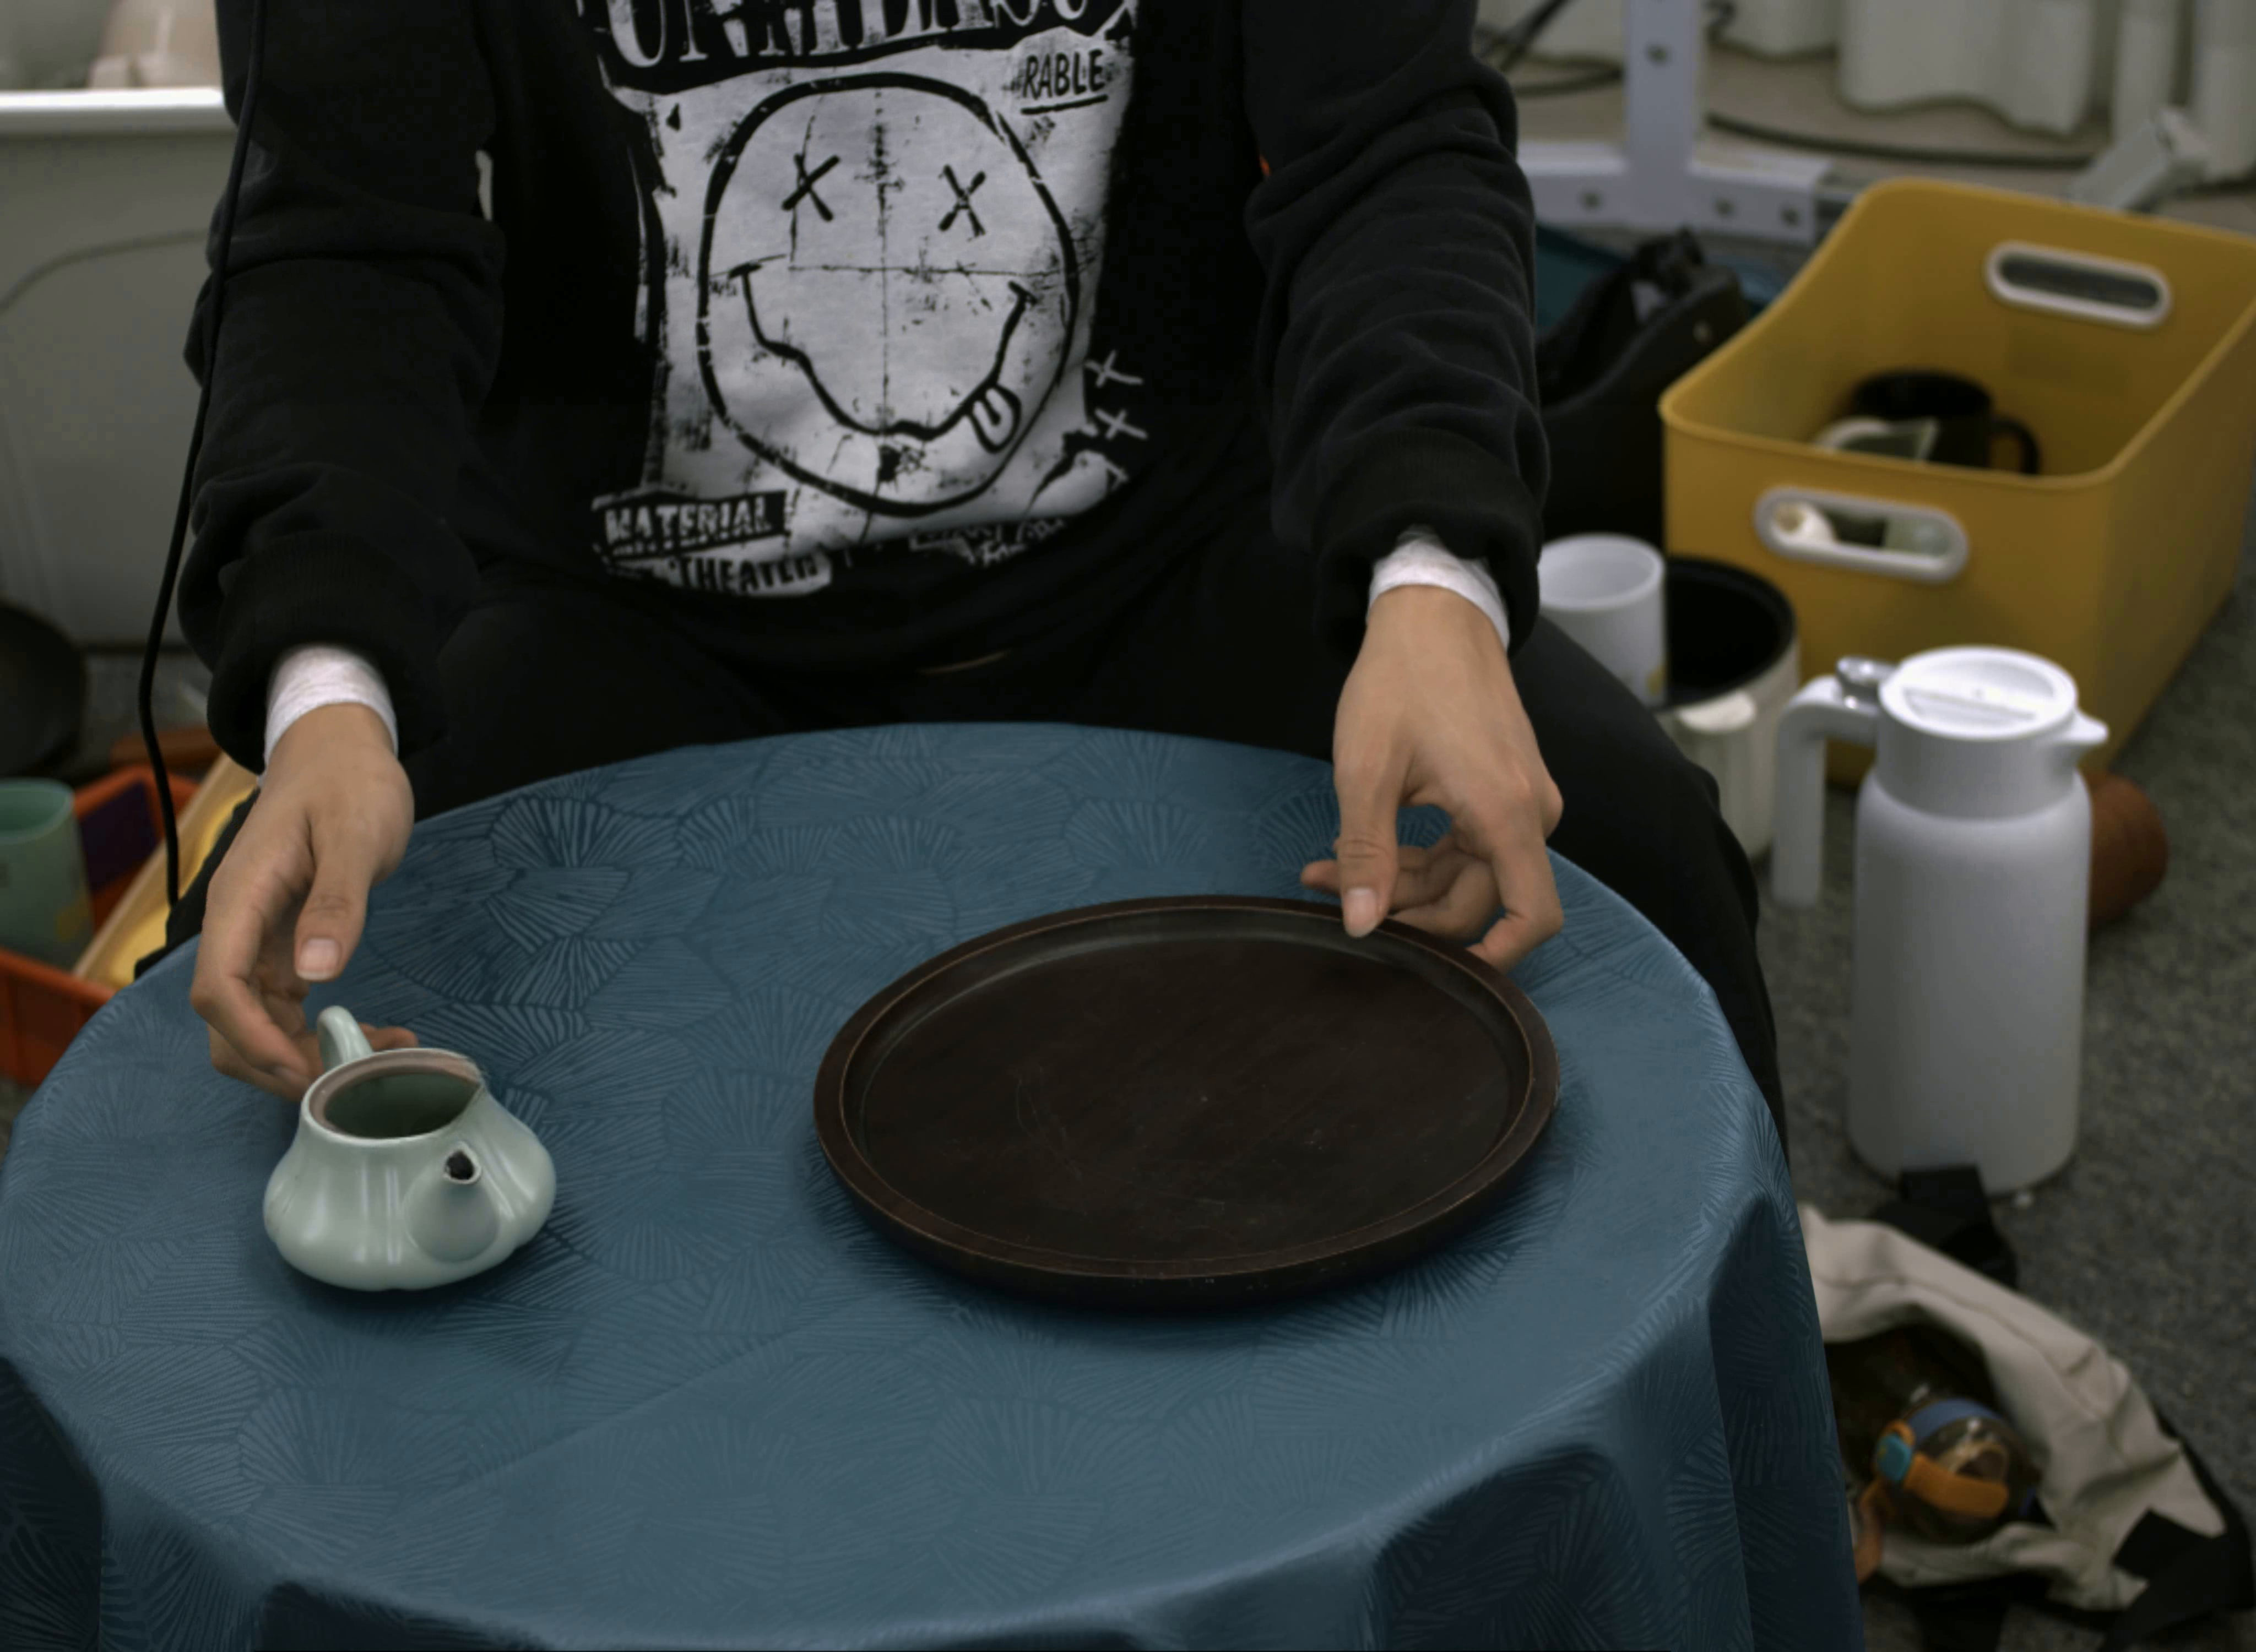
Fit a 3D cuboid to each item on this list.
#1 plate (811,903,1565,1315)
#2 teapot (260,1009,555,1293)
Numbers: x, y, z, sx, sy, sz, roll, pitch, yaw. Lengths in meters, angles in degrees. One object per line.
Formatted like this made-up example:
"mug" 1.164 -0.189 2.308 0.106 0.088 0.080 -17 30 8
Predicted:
"plate" 0.020 0.092 1.887 0.253 0.029 0.259 -3 28 2
"teapot" -0.239 0.109 1.841 0.097 0.061 0.137 -18 31 -25
